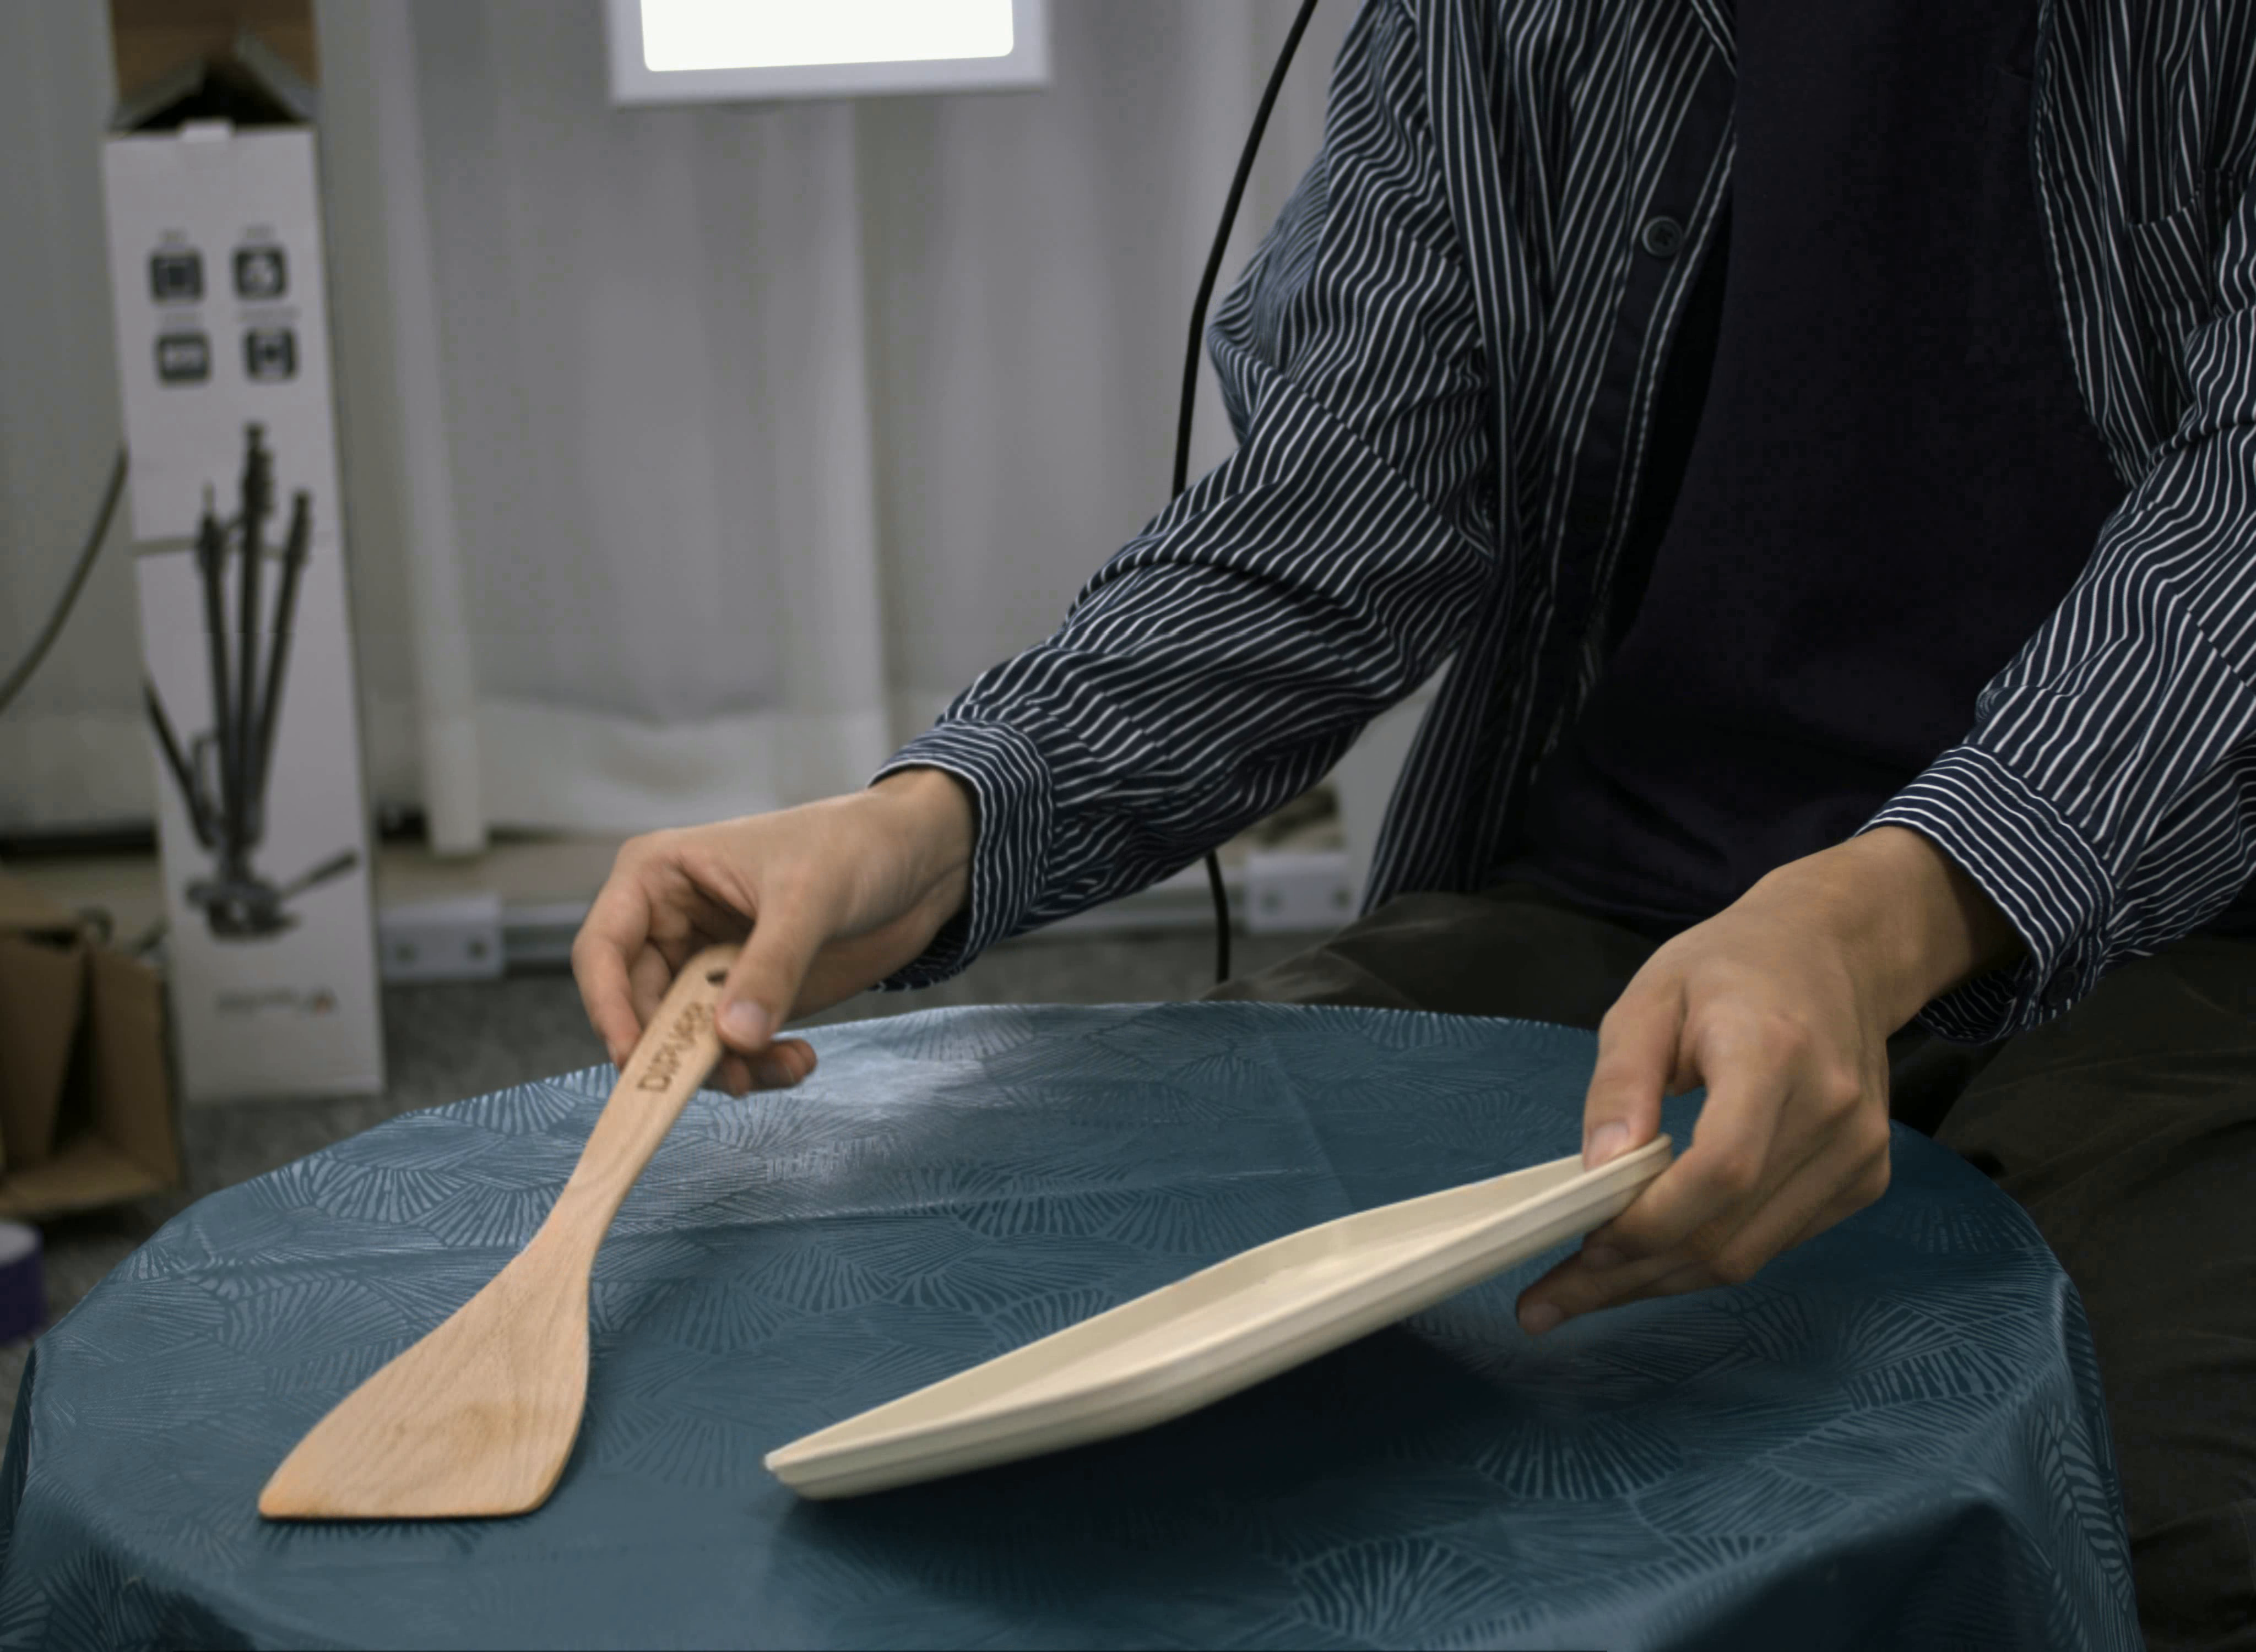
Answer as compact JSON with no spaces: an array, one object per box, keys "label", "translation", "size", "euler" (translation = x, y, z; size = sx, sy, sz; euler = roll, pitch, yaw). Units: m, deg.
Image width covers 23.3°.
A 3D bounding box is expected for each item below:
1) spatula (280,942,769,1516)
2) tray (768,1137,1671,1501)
[{"label":"spatula","translation":[-0.159,0.114,1.615],"size":[0.080,0.016,0.331],"euler":[4,29,12]},{"label":"tray","translation":[0.029,0.136,1.494],"size":[0.239,0.017,0.171],"euler":[-19,0,-45]}]
